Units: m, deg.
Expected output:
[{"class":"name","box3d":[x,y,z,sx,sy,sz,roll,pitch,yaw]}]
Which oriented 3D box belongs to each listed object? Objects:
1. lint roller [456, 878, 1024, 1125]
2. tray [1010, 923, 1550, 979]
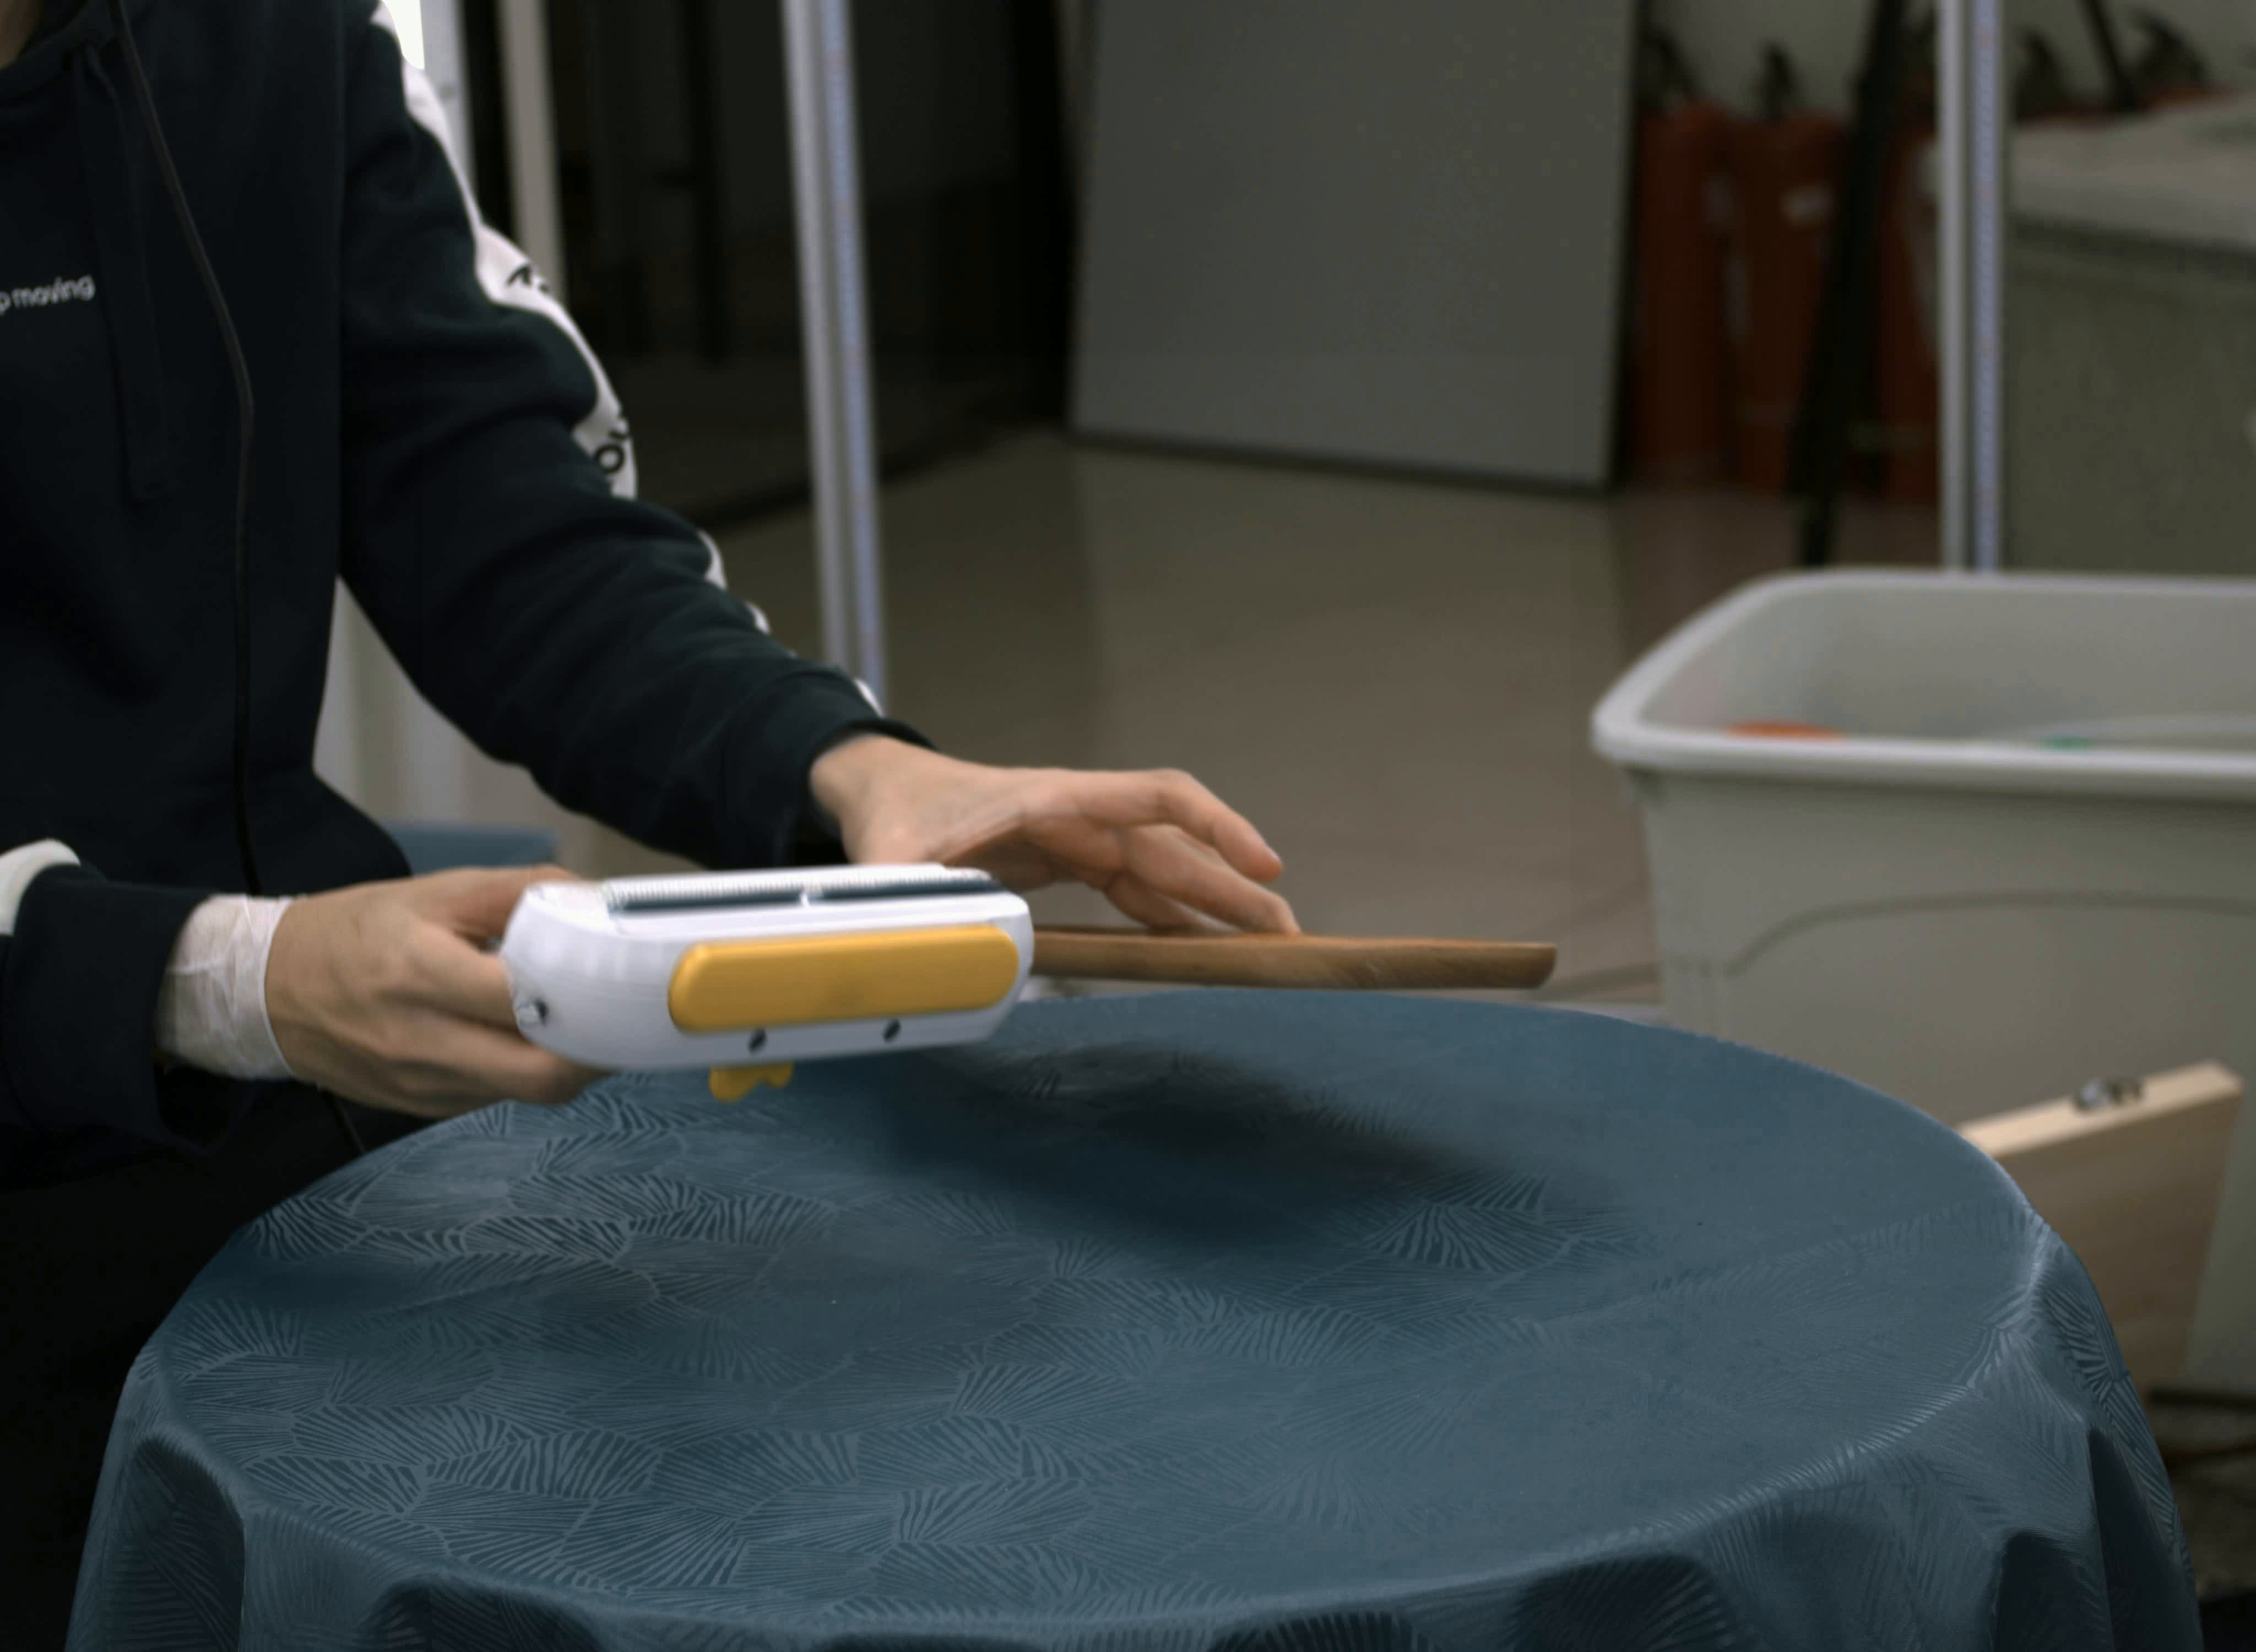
[{"class":"lint roller","box3d":[-0.151,0.057,1.703,0.188,0.075,0.194,-4,-5,-40]},{"class":"tray","box3d":[0.022,0.041,1.811,0.127,0.023,0.253,5,-4,-38]}]
